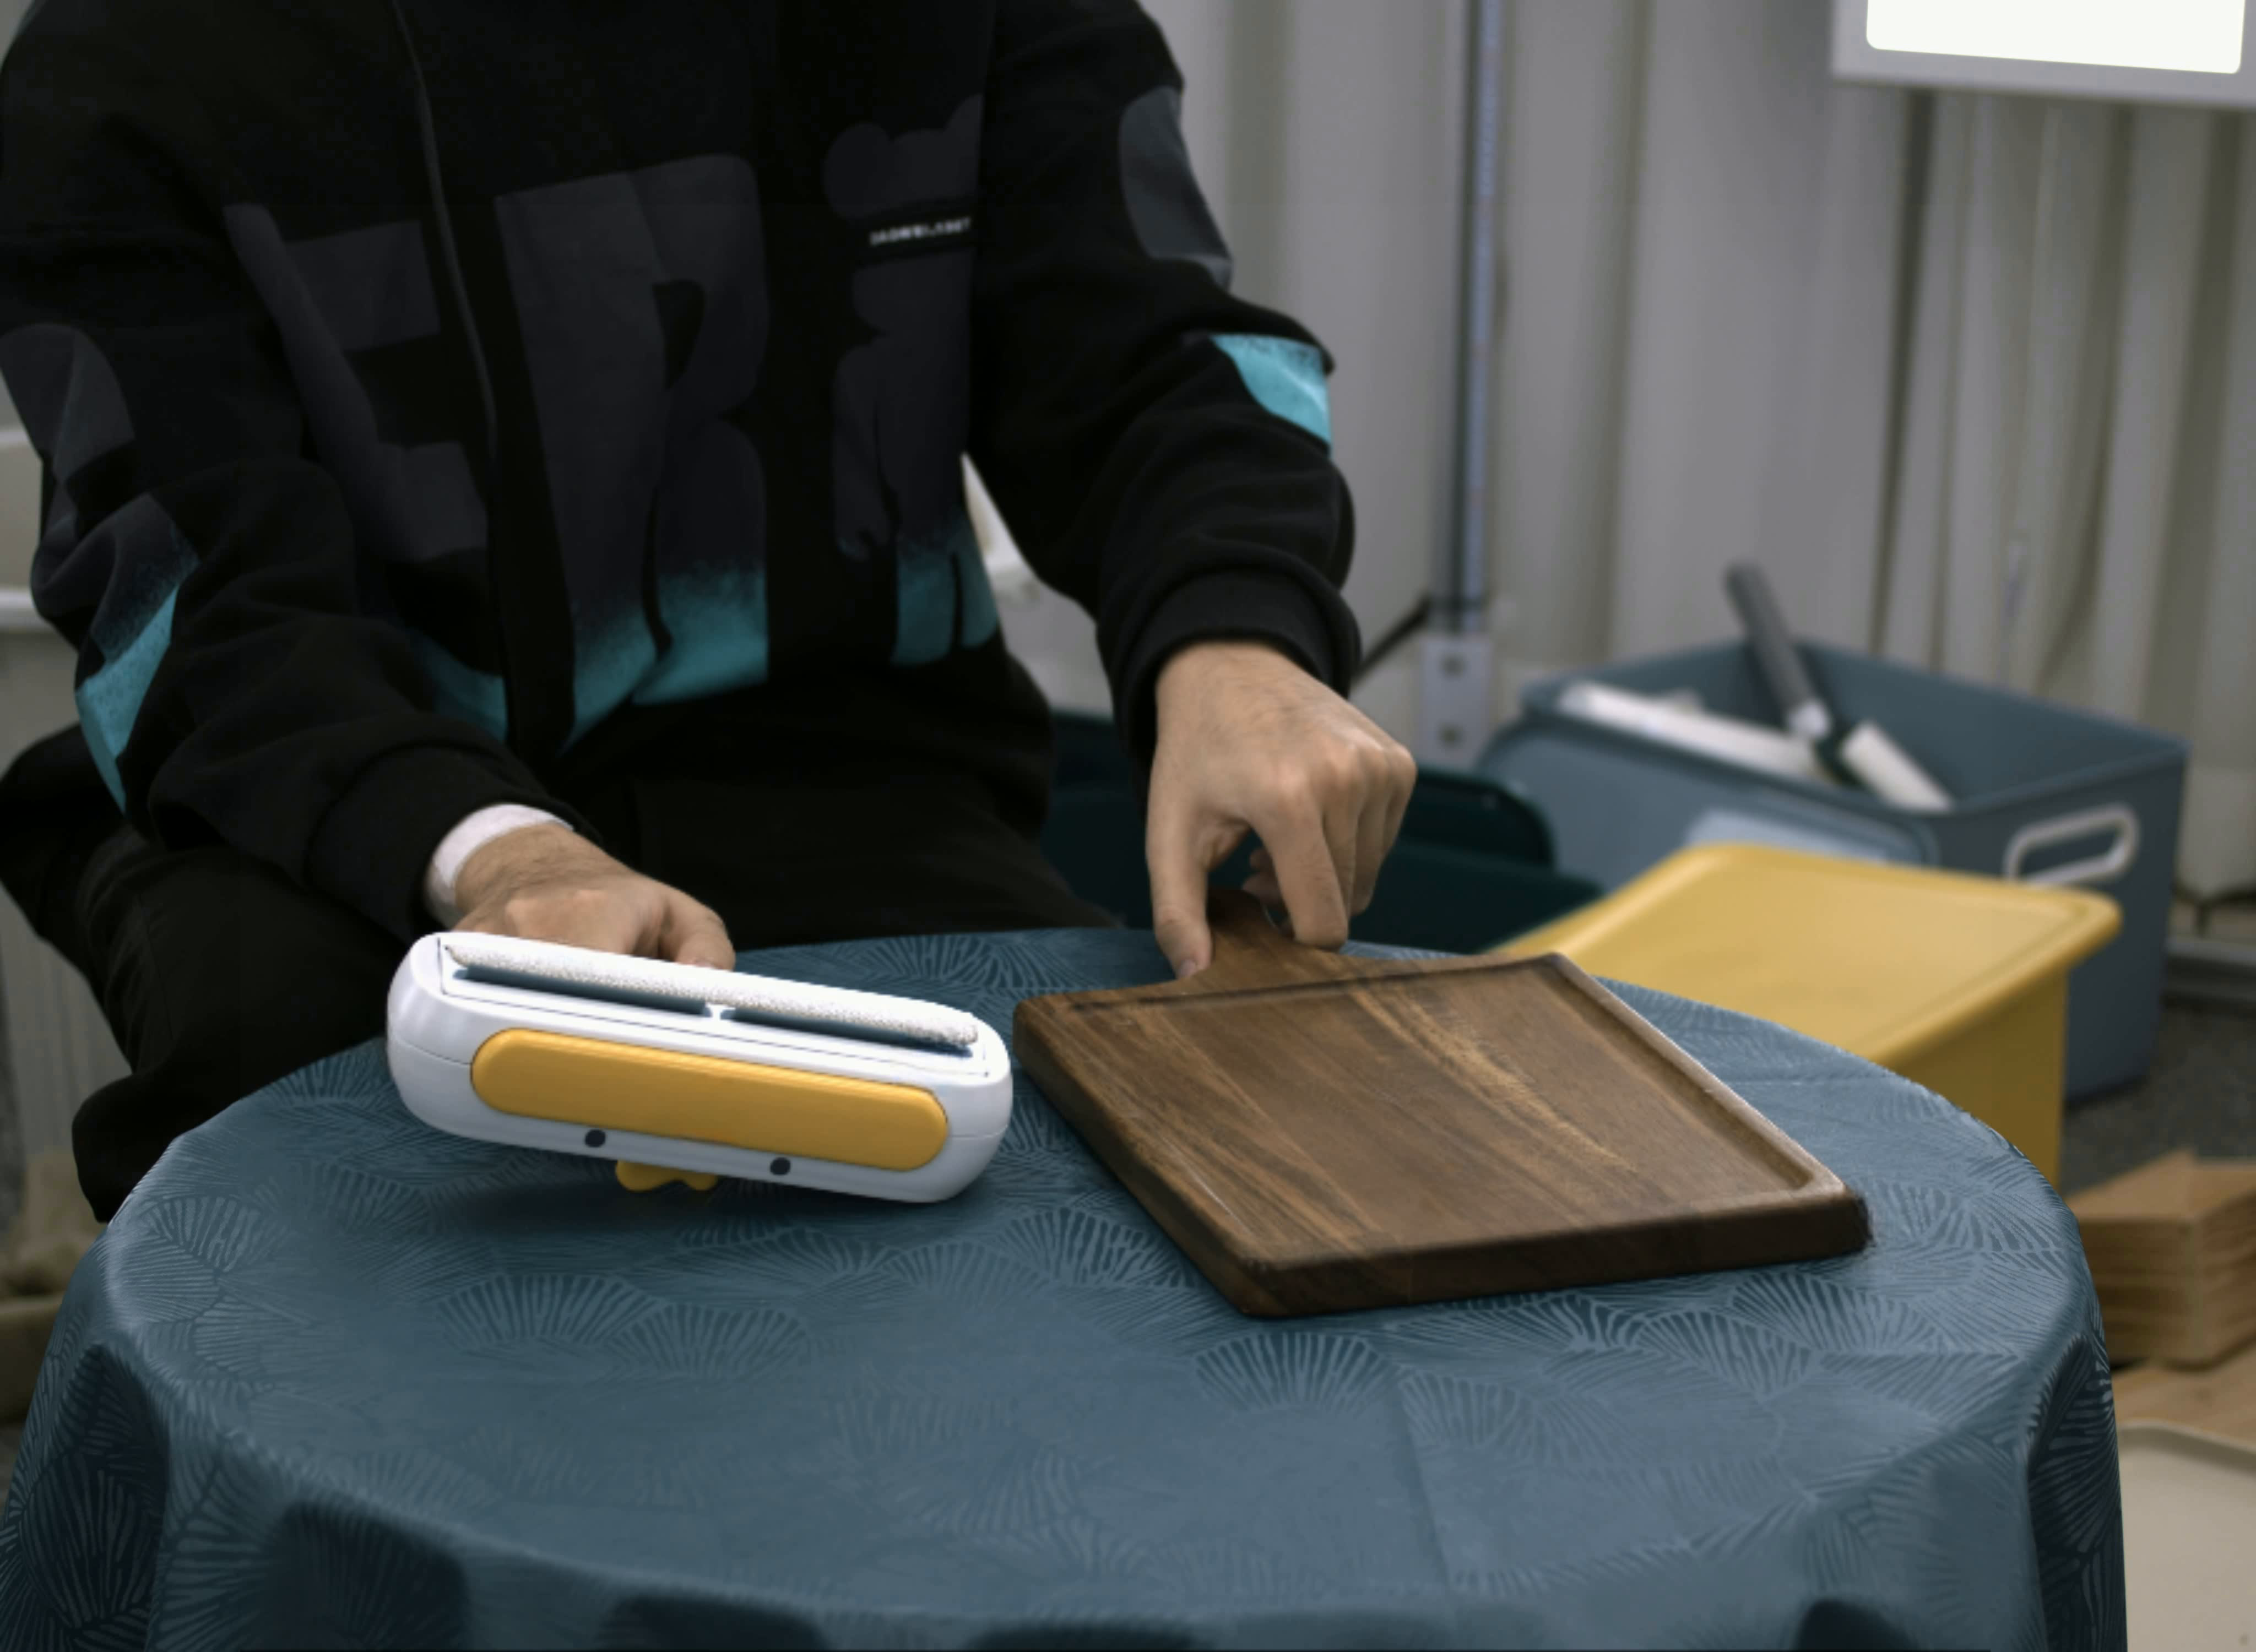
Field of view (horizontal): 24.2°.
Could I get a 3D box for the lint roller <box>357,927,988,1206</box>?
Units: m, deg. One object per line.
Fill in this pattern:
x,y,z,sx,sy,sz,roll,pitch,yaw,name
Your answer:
-0.146,0.066,1.656,0.193,0.074,0.191,6,13,-9,lint roller

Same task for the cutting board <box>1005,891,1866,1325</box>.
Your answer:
0.075,0.079,1.692,0.201,0.023,0.348,-5,17,-17,cutting board
